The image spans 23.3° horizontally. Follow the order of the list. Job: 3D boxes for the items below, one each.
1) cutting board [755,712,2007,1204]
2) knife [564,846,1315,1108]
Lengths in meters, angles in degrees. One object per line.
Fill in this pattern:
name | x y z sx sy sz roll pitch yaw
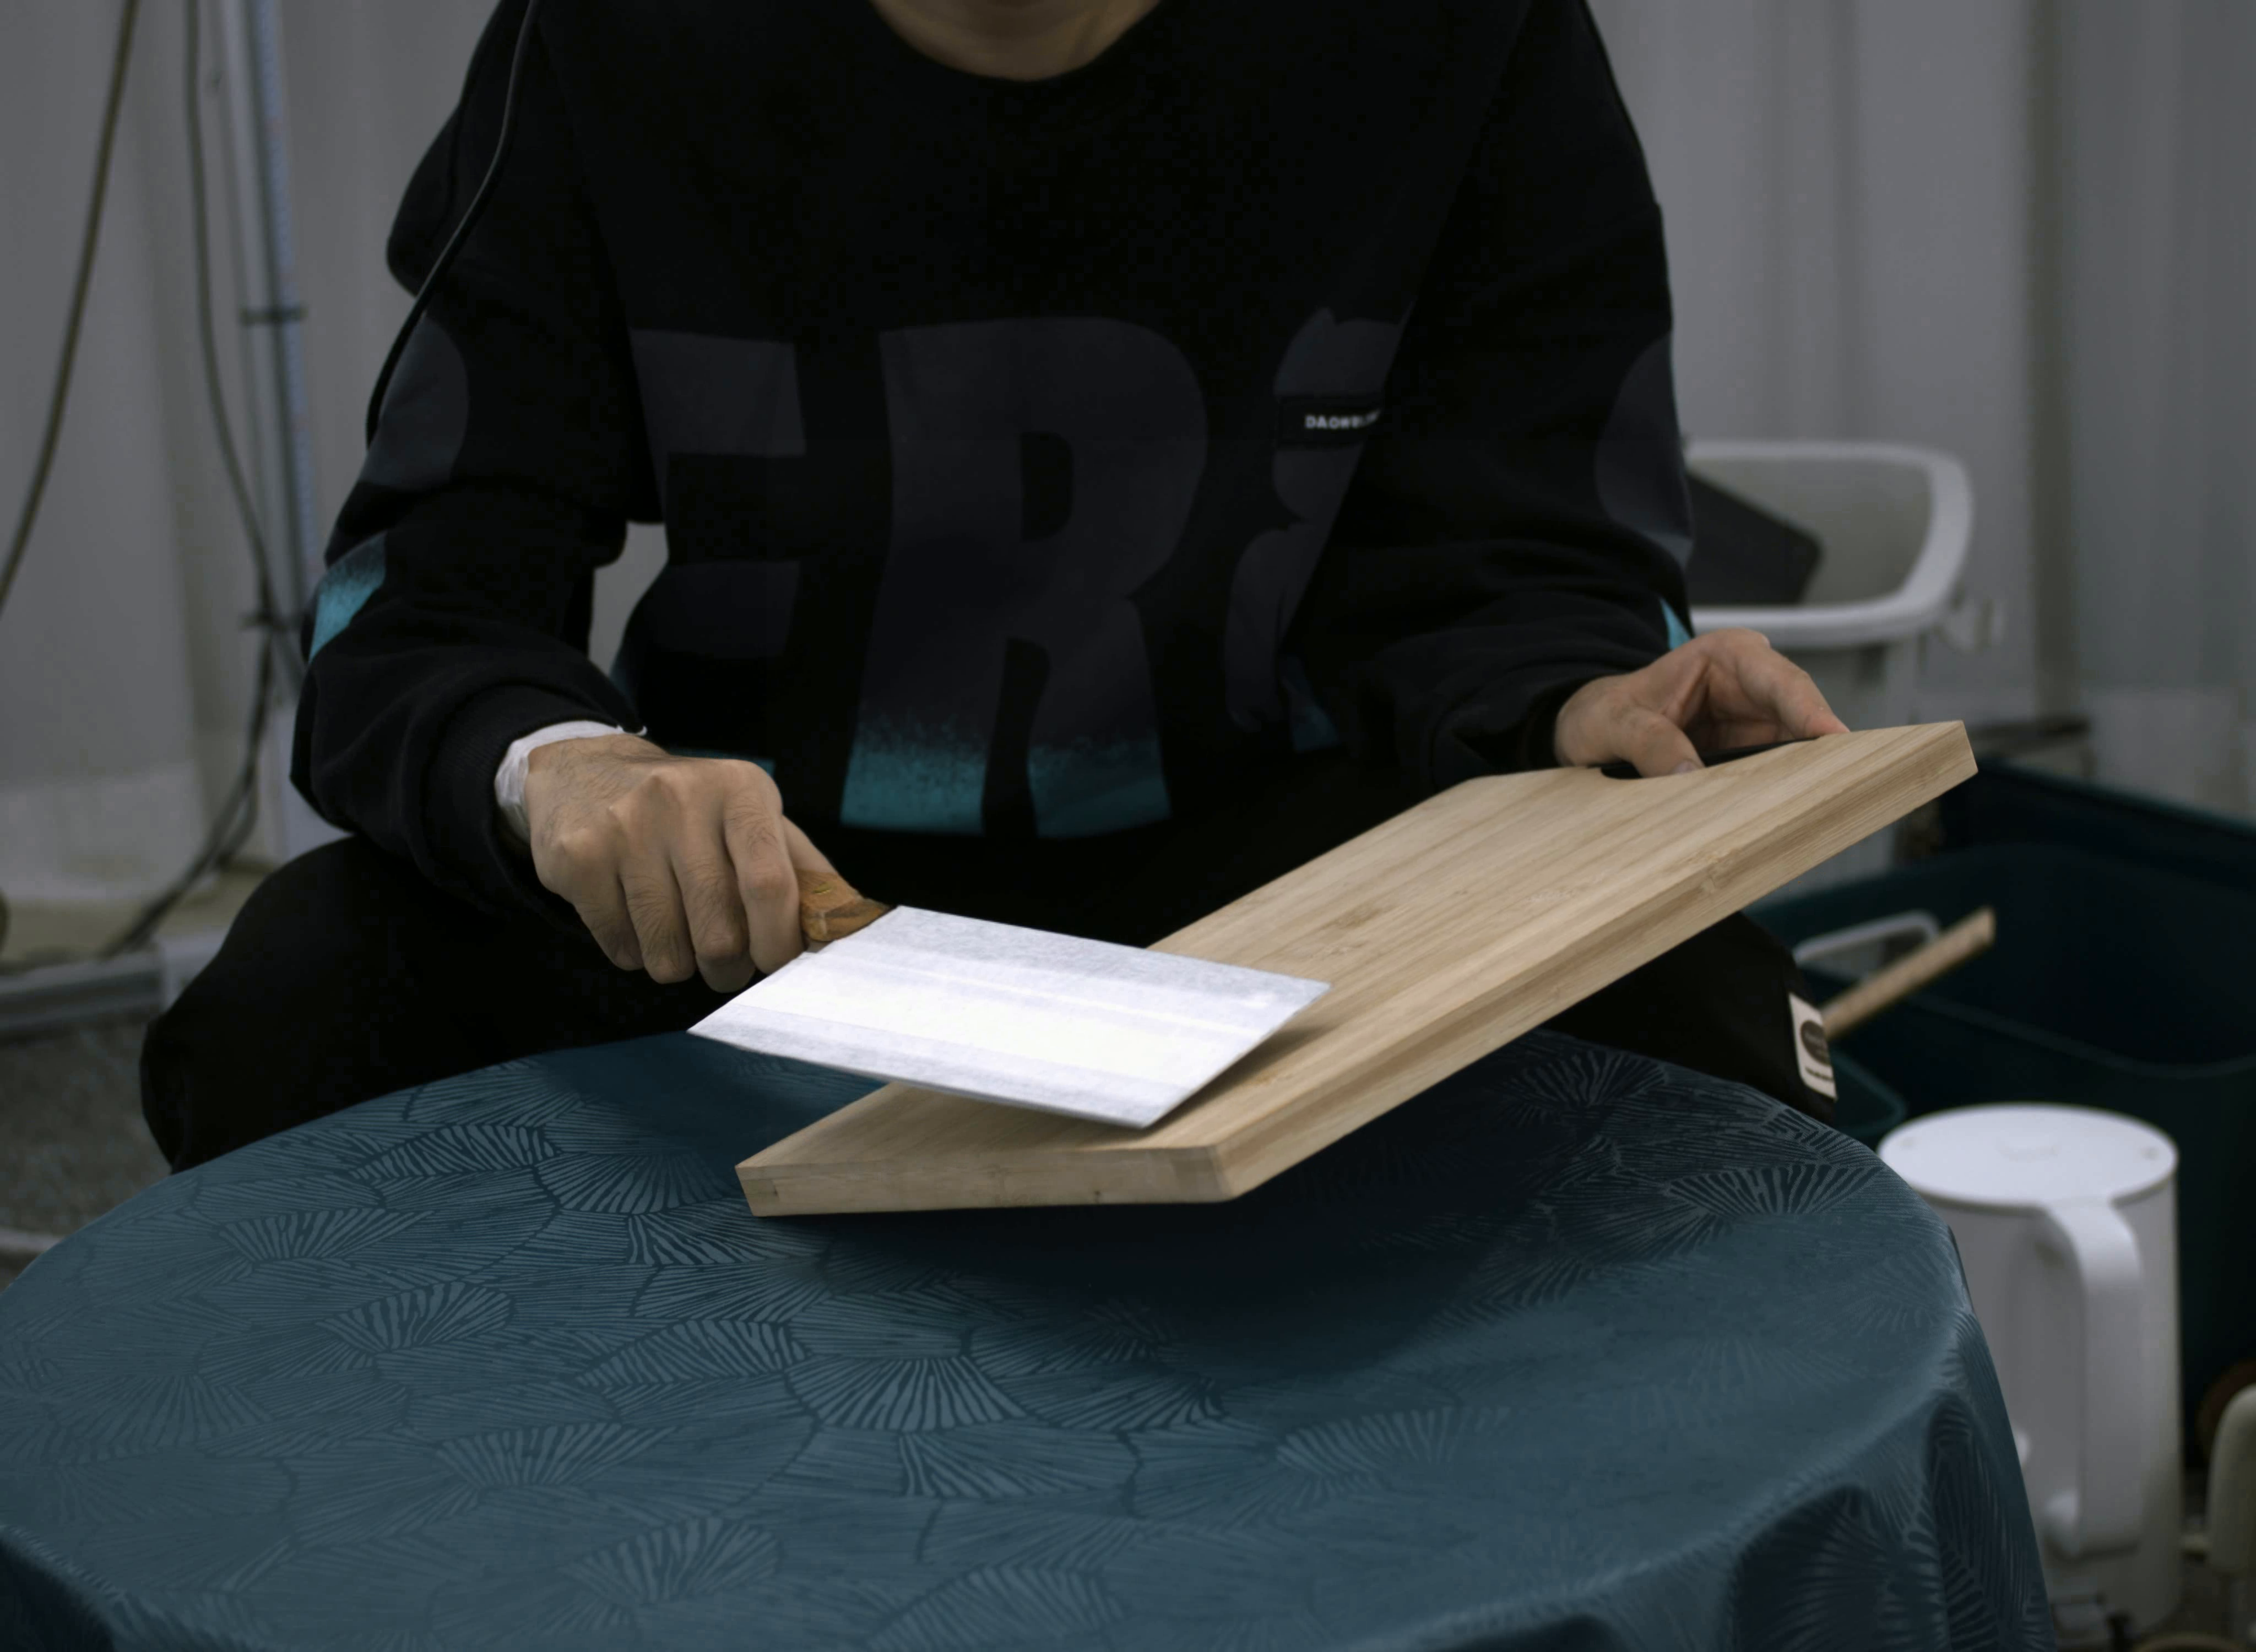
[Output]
cutting board | 0.078 0.043 1.721 0.349 0.023 0.251 -27 13 -38
knife | -0.080 0.048 1.683 0.307 0.021 0.093 9 33 42
